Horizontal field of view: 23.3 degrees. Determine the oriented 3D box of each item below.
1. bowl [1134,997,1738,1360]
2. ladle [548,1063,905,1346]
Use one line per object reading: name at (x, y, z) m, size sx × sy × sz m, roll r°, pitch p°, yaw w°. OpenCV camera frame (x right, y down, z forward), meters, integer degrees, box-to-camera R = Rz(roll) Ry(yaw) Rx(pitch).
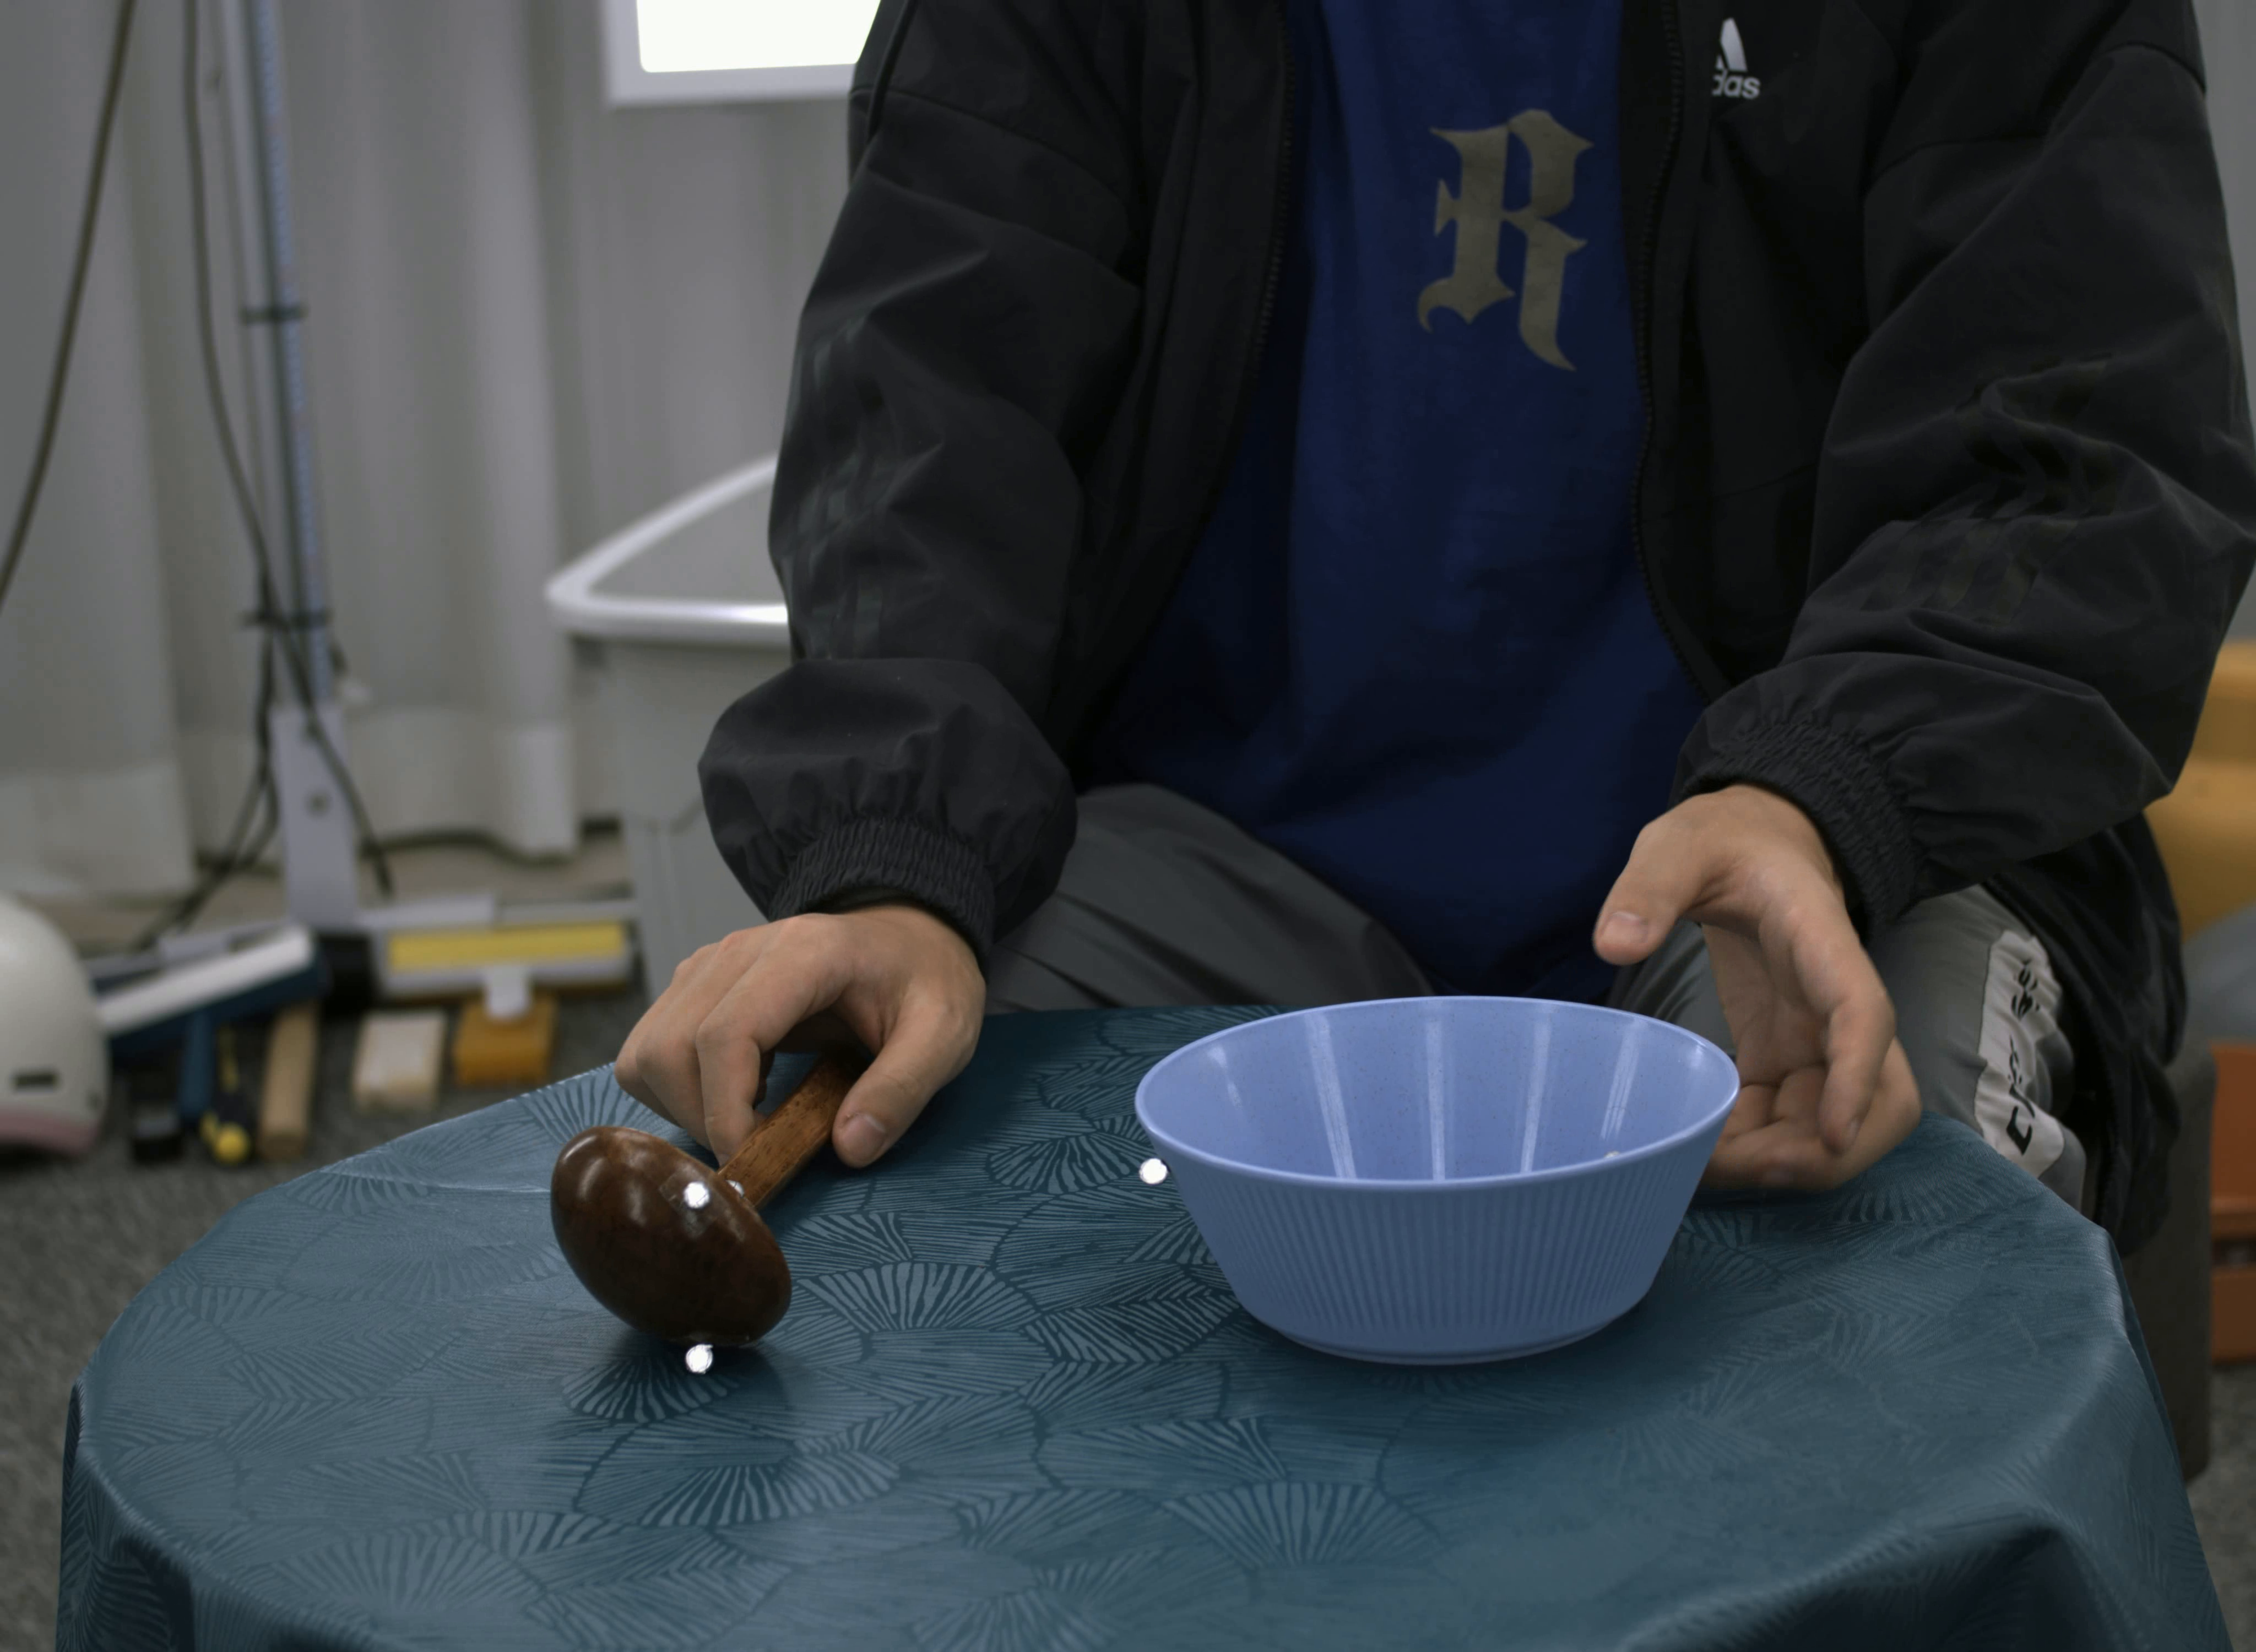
bowl at (0.090, 0.105, 1.593) m, size 0.175 × 0.070 × 0.177 m, roll -2°, pitch 14°, yaw 0°
ladle at (-0.105, 0.094, 1.677) m, size 0.076 × 0.082 × 0.275 m, roll -46°, pitch -3°, yaw 21°
